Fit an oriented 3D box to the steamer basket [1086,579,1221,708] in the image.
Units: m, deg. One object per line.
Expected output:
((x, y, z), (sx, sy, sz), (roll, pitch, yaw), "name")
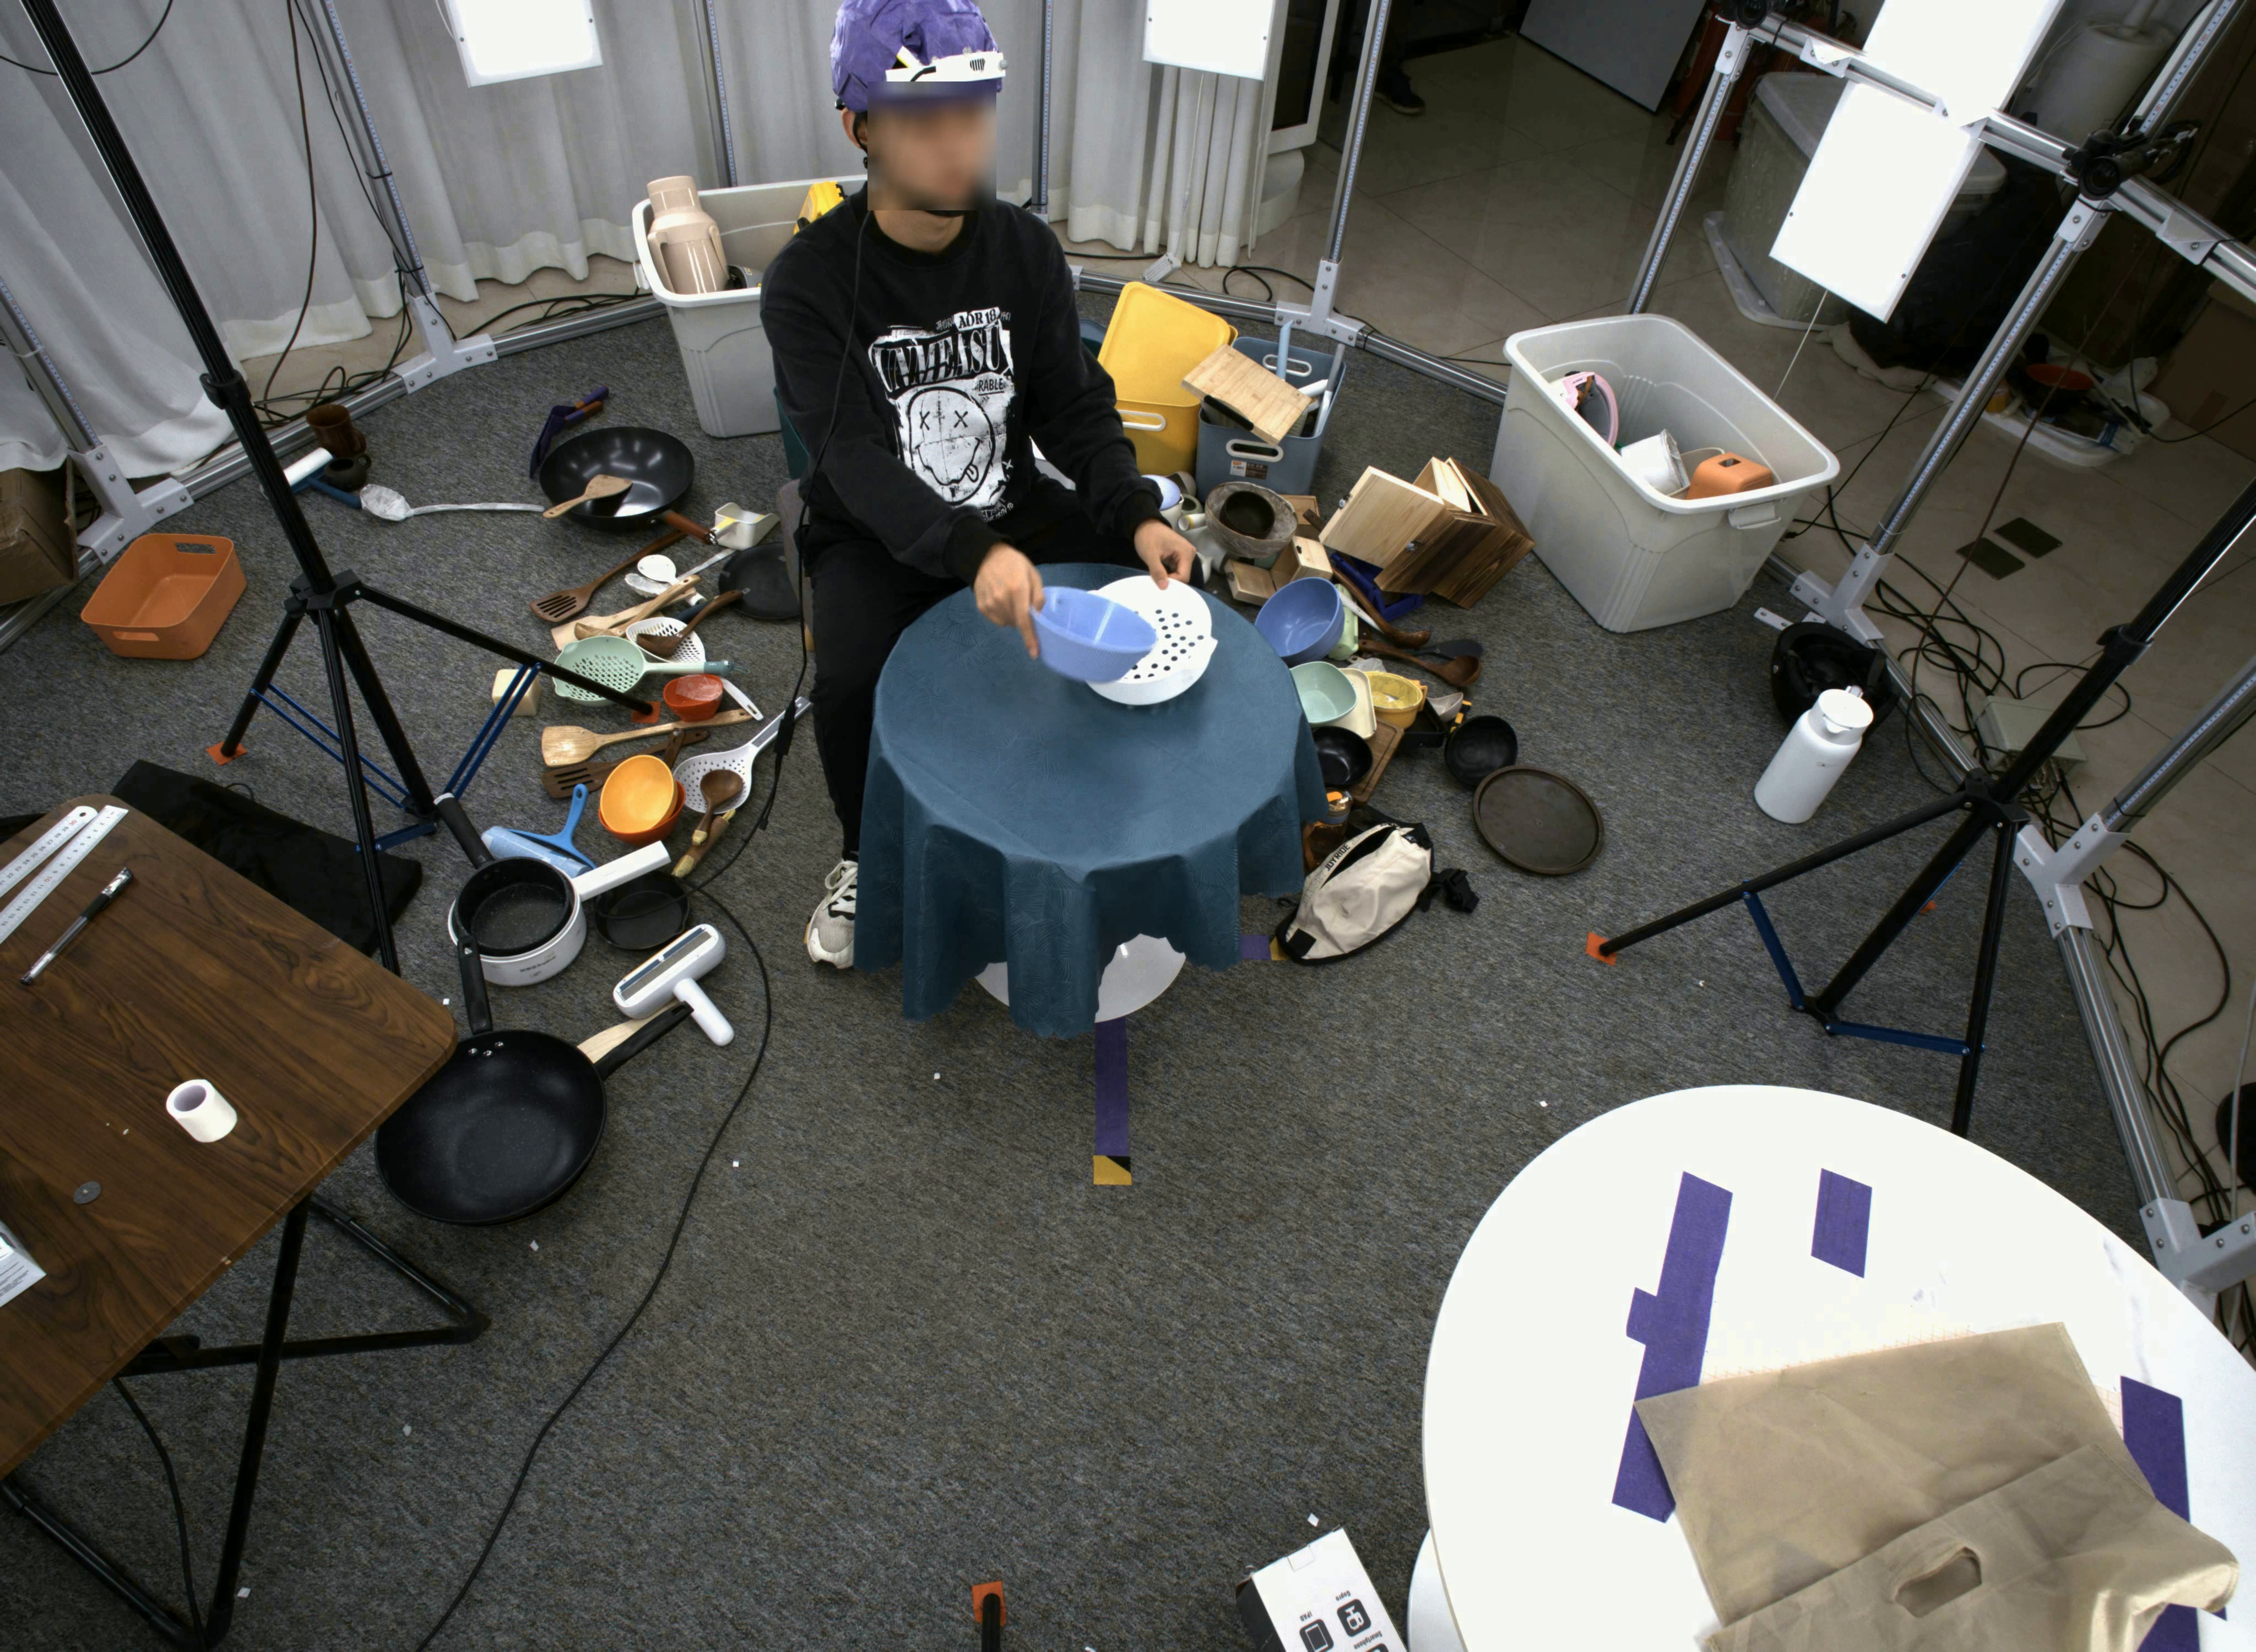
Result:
((0.027, -0.262, 1.849), (0.233, 0.067, 0.205), (24, 62, 22), "steamer basket")

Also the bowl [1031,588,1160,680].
((-0.050, -0.245, 1.673), (0.175, 0.069, 0.179), (16, 25, -8), "bowl")
